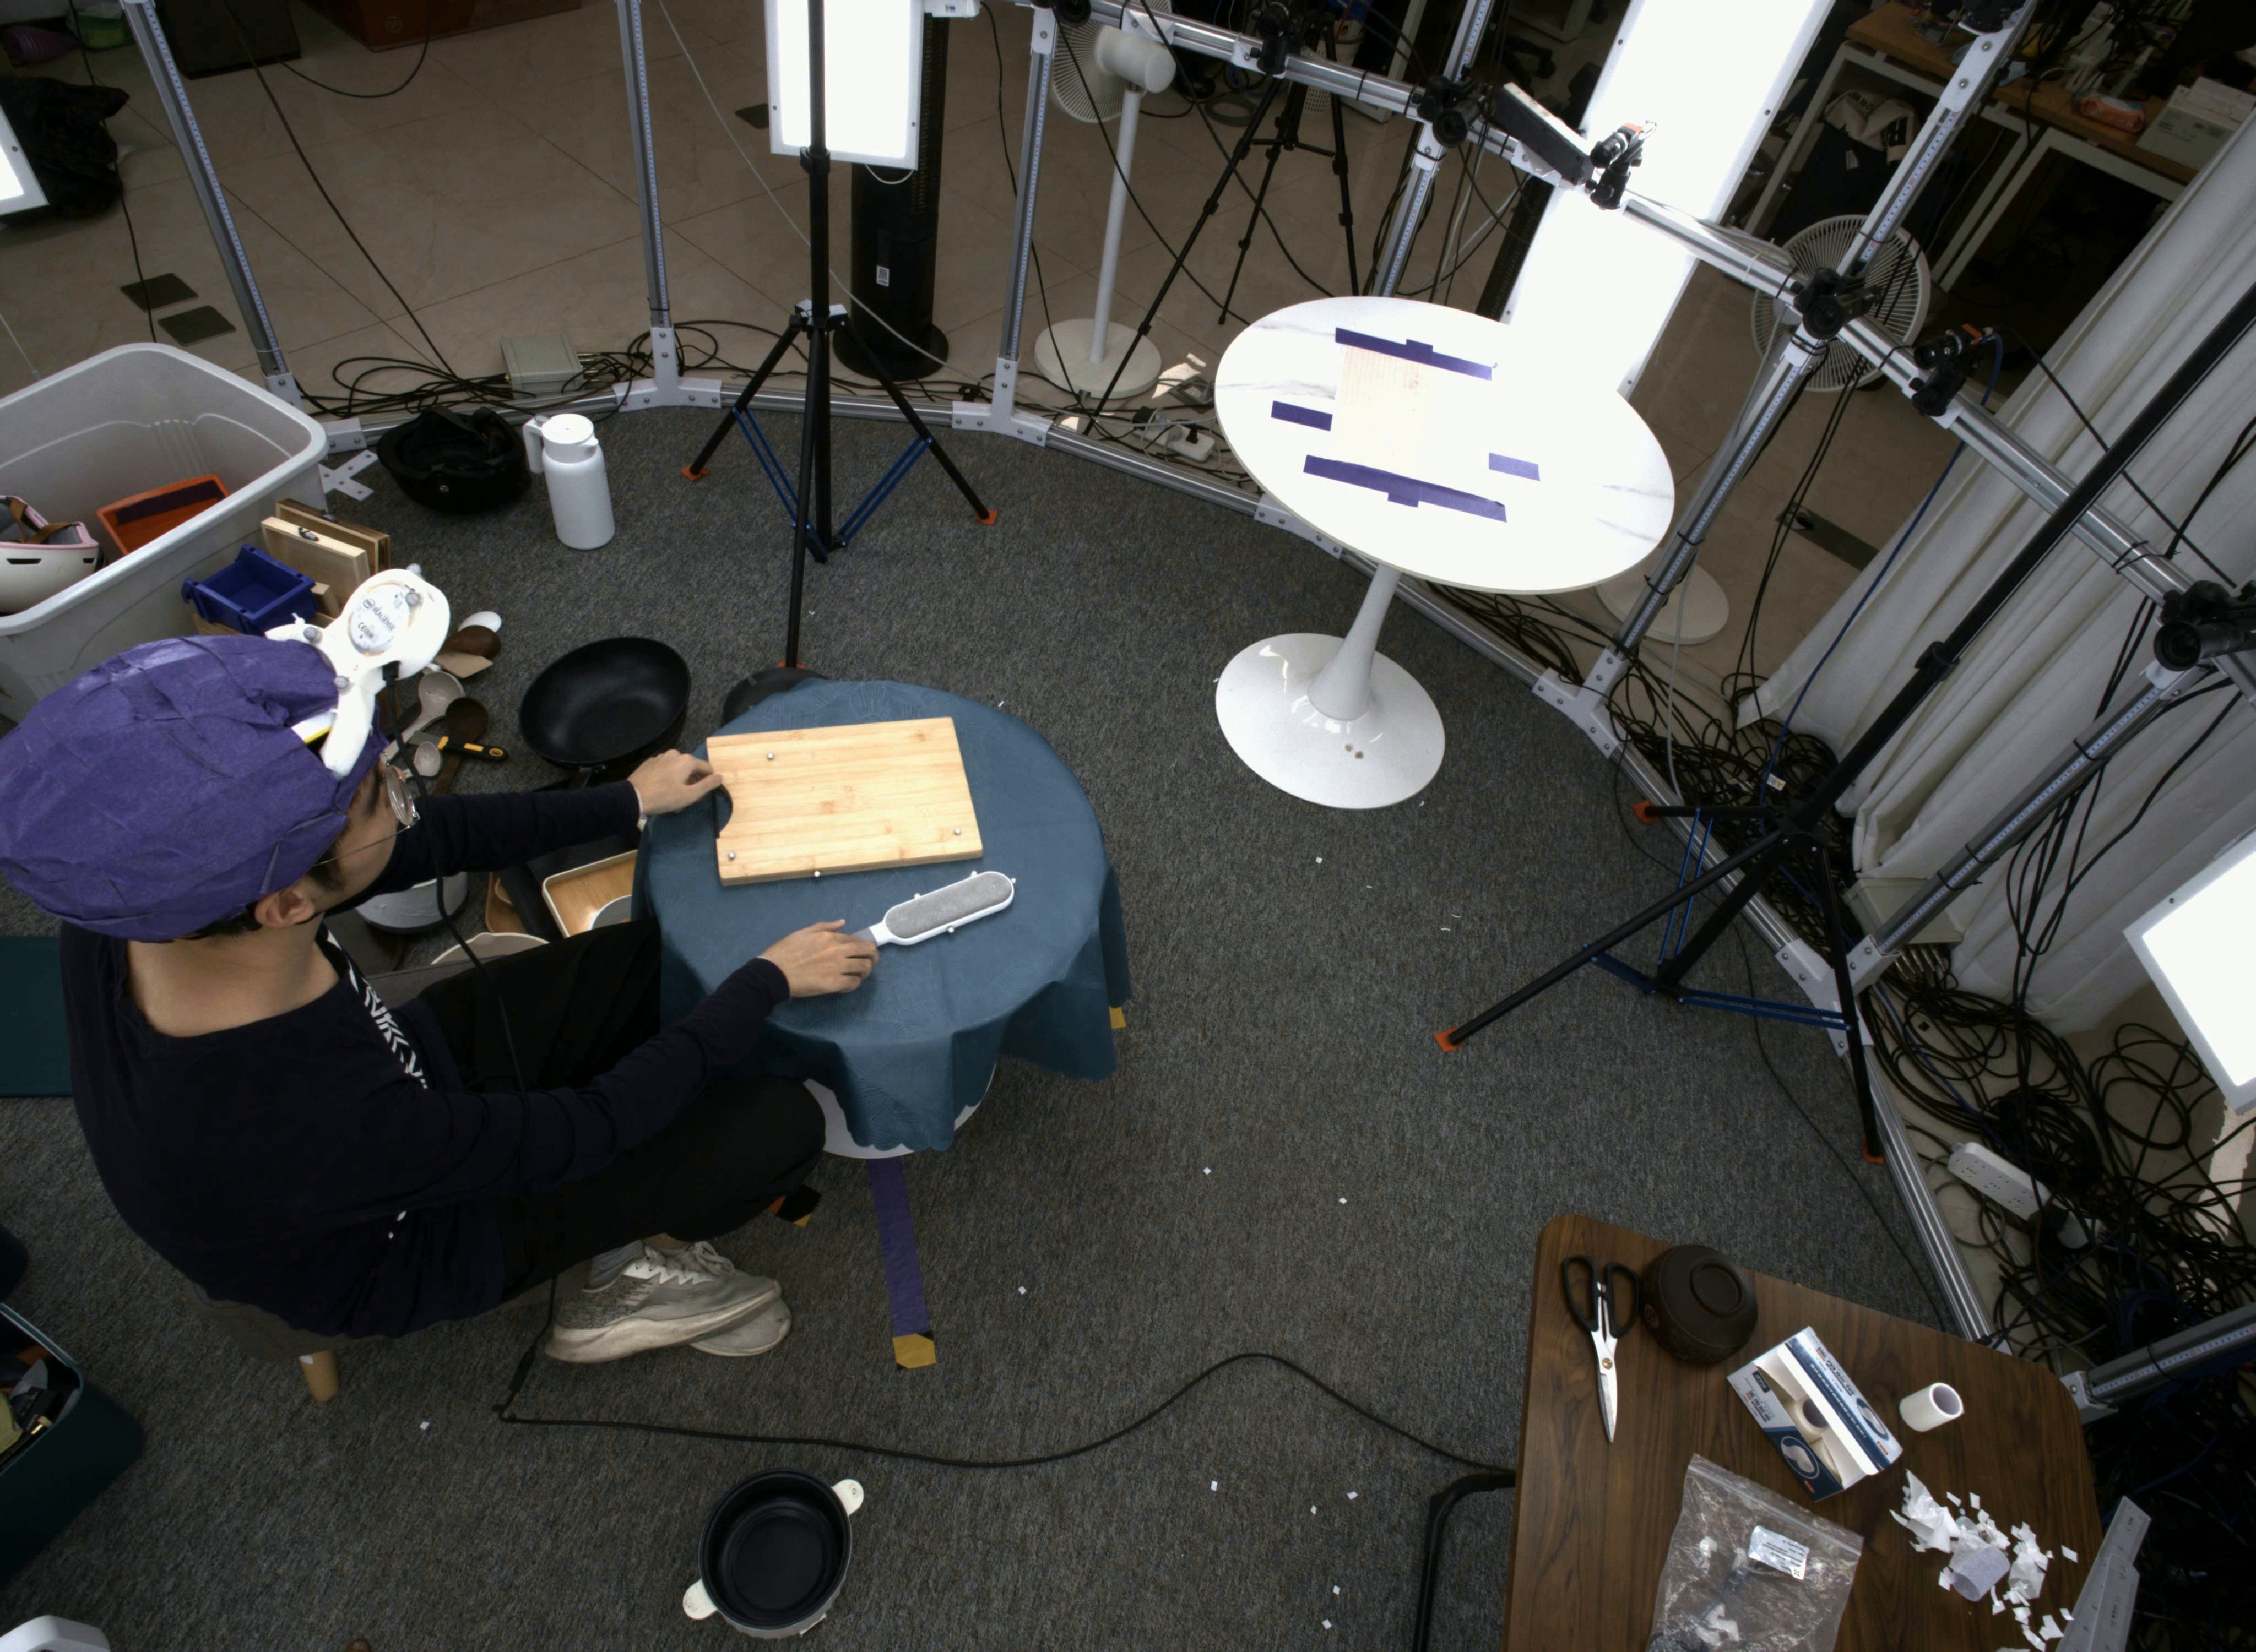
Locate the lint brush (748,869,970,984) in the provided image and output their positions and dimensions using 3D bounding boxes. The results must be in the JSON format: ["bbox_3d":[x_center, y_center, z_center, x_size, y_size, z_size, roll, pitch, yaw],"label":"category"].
[{"bbox_3d":[-0.337,0.125,1.646,0.310,0.021,0.059,-24,68,-28],"label":"lint brush"}]

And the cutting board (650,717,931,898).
[{"bbox_3d":[-0.454,-0.033,1.742,0.350,0.024,0.244,-9,56,-20],"label":"cutting board"}]
